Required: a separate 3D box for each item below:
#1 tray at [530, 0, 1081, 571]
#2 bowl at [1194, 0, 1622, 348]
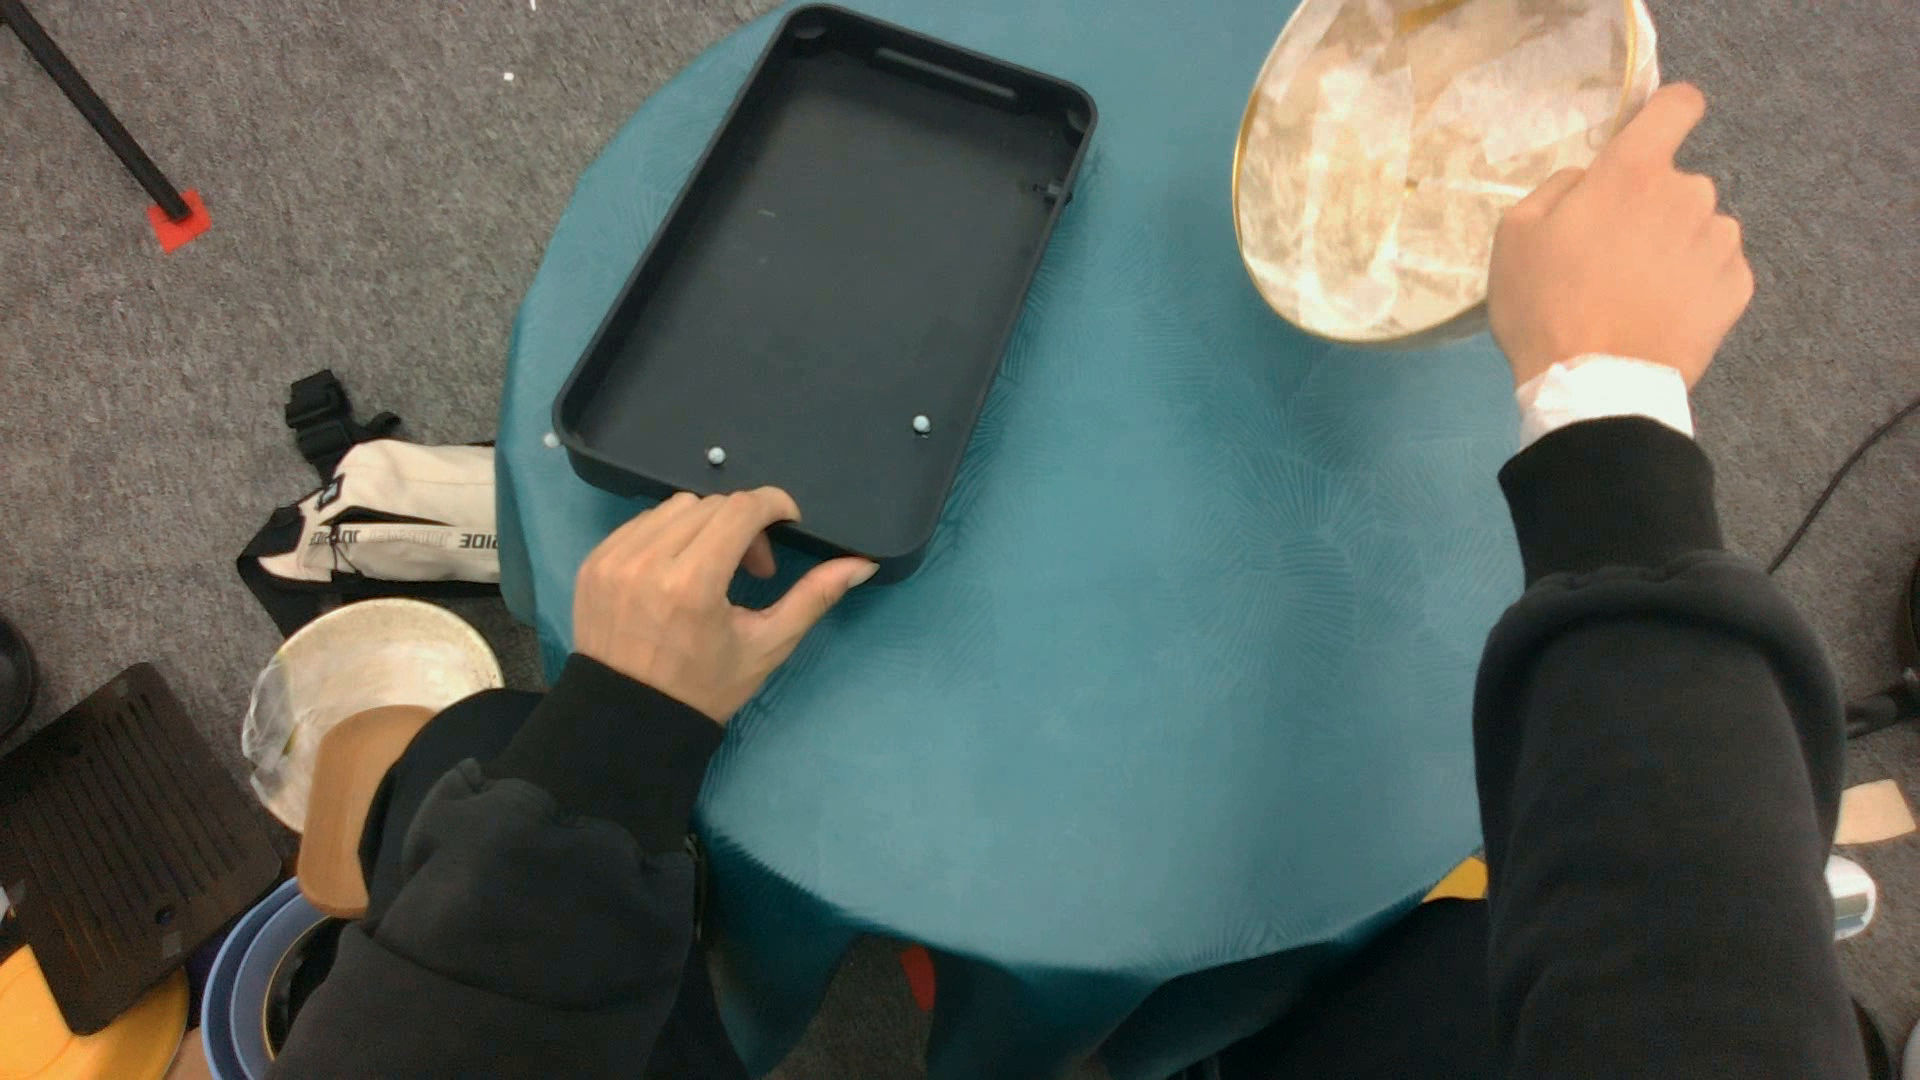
[{"bbox_3d":[-0.066,-0.144,0.703,0.184,0.037,0.319,20,60,3],"label":"tray"},{"bbox_3d":[0.225,-0.181,0.661,0.095,0.213,0.215,13,60,-40],"label":"bowl"}]
